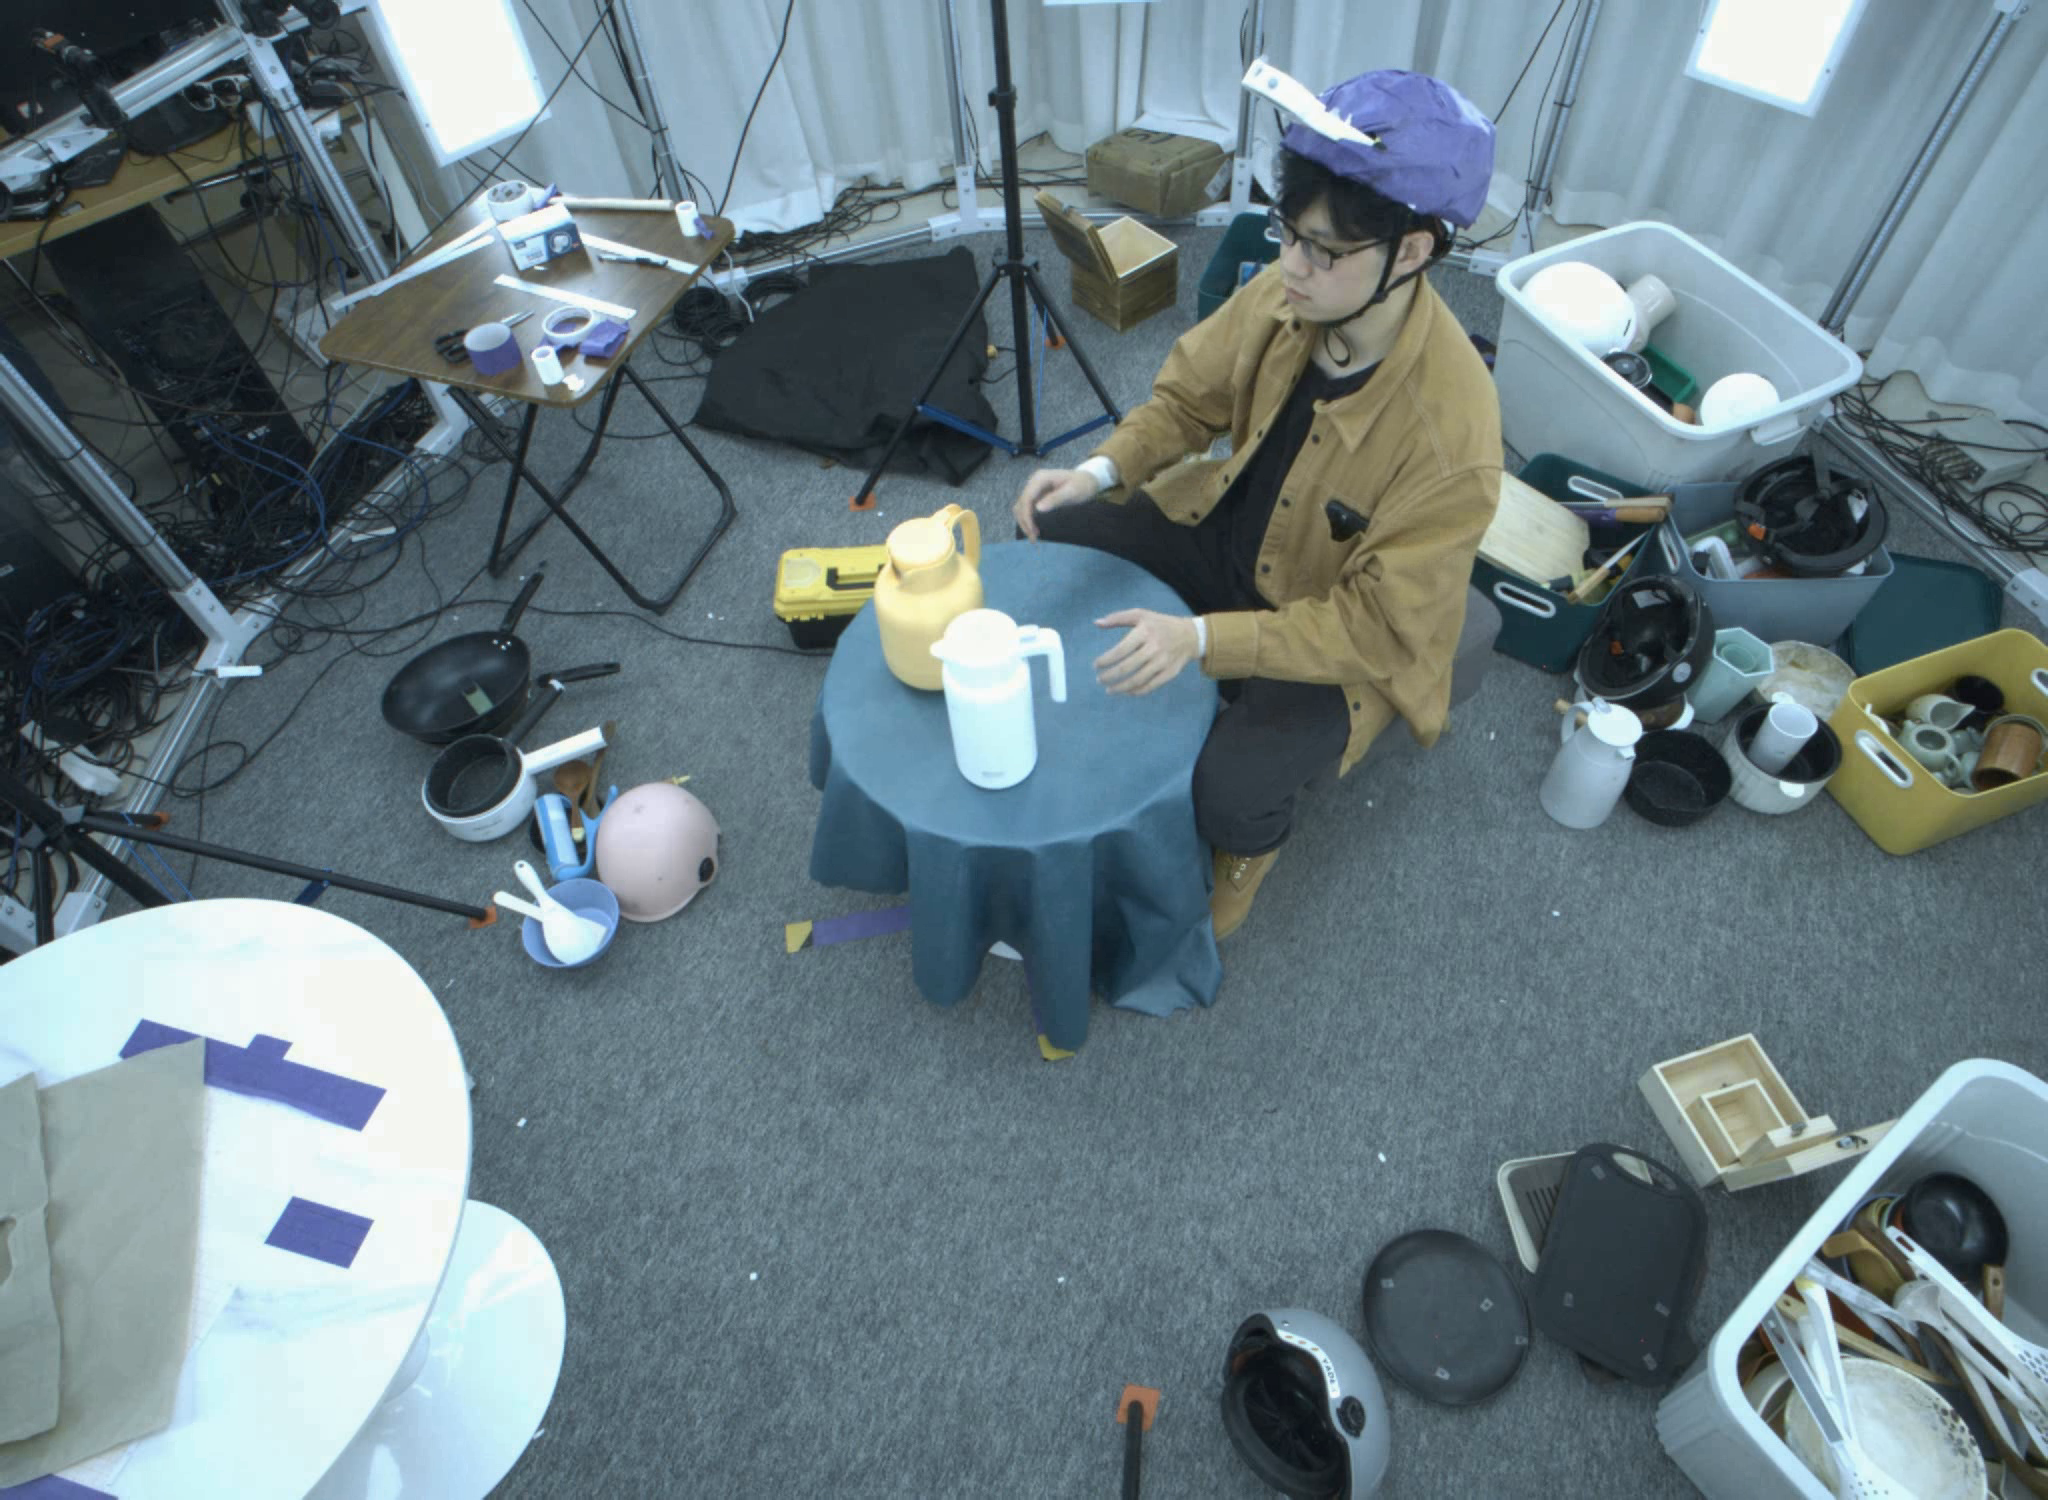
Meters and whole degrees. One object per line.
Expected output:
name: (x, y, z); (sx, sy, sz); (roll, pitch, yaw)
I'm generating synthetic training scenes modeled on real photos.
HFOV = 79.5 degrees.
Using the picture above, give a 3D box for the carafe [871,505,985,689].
carafe: (-0.129, -0.231, 1.791); (0.161, 0.263, 0.203); (29, 62, 19)

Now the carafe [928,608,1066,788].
carafe: (-0.030, -0.070, 1.669); (0.173, 0.272, 0.122); (-10, 52, -4)
